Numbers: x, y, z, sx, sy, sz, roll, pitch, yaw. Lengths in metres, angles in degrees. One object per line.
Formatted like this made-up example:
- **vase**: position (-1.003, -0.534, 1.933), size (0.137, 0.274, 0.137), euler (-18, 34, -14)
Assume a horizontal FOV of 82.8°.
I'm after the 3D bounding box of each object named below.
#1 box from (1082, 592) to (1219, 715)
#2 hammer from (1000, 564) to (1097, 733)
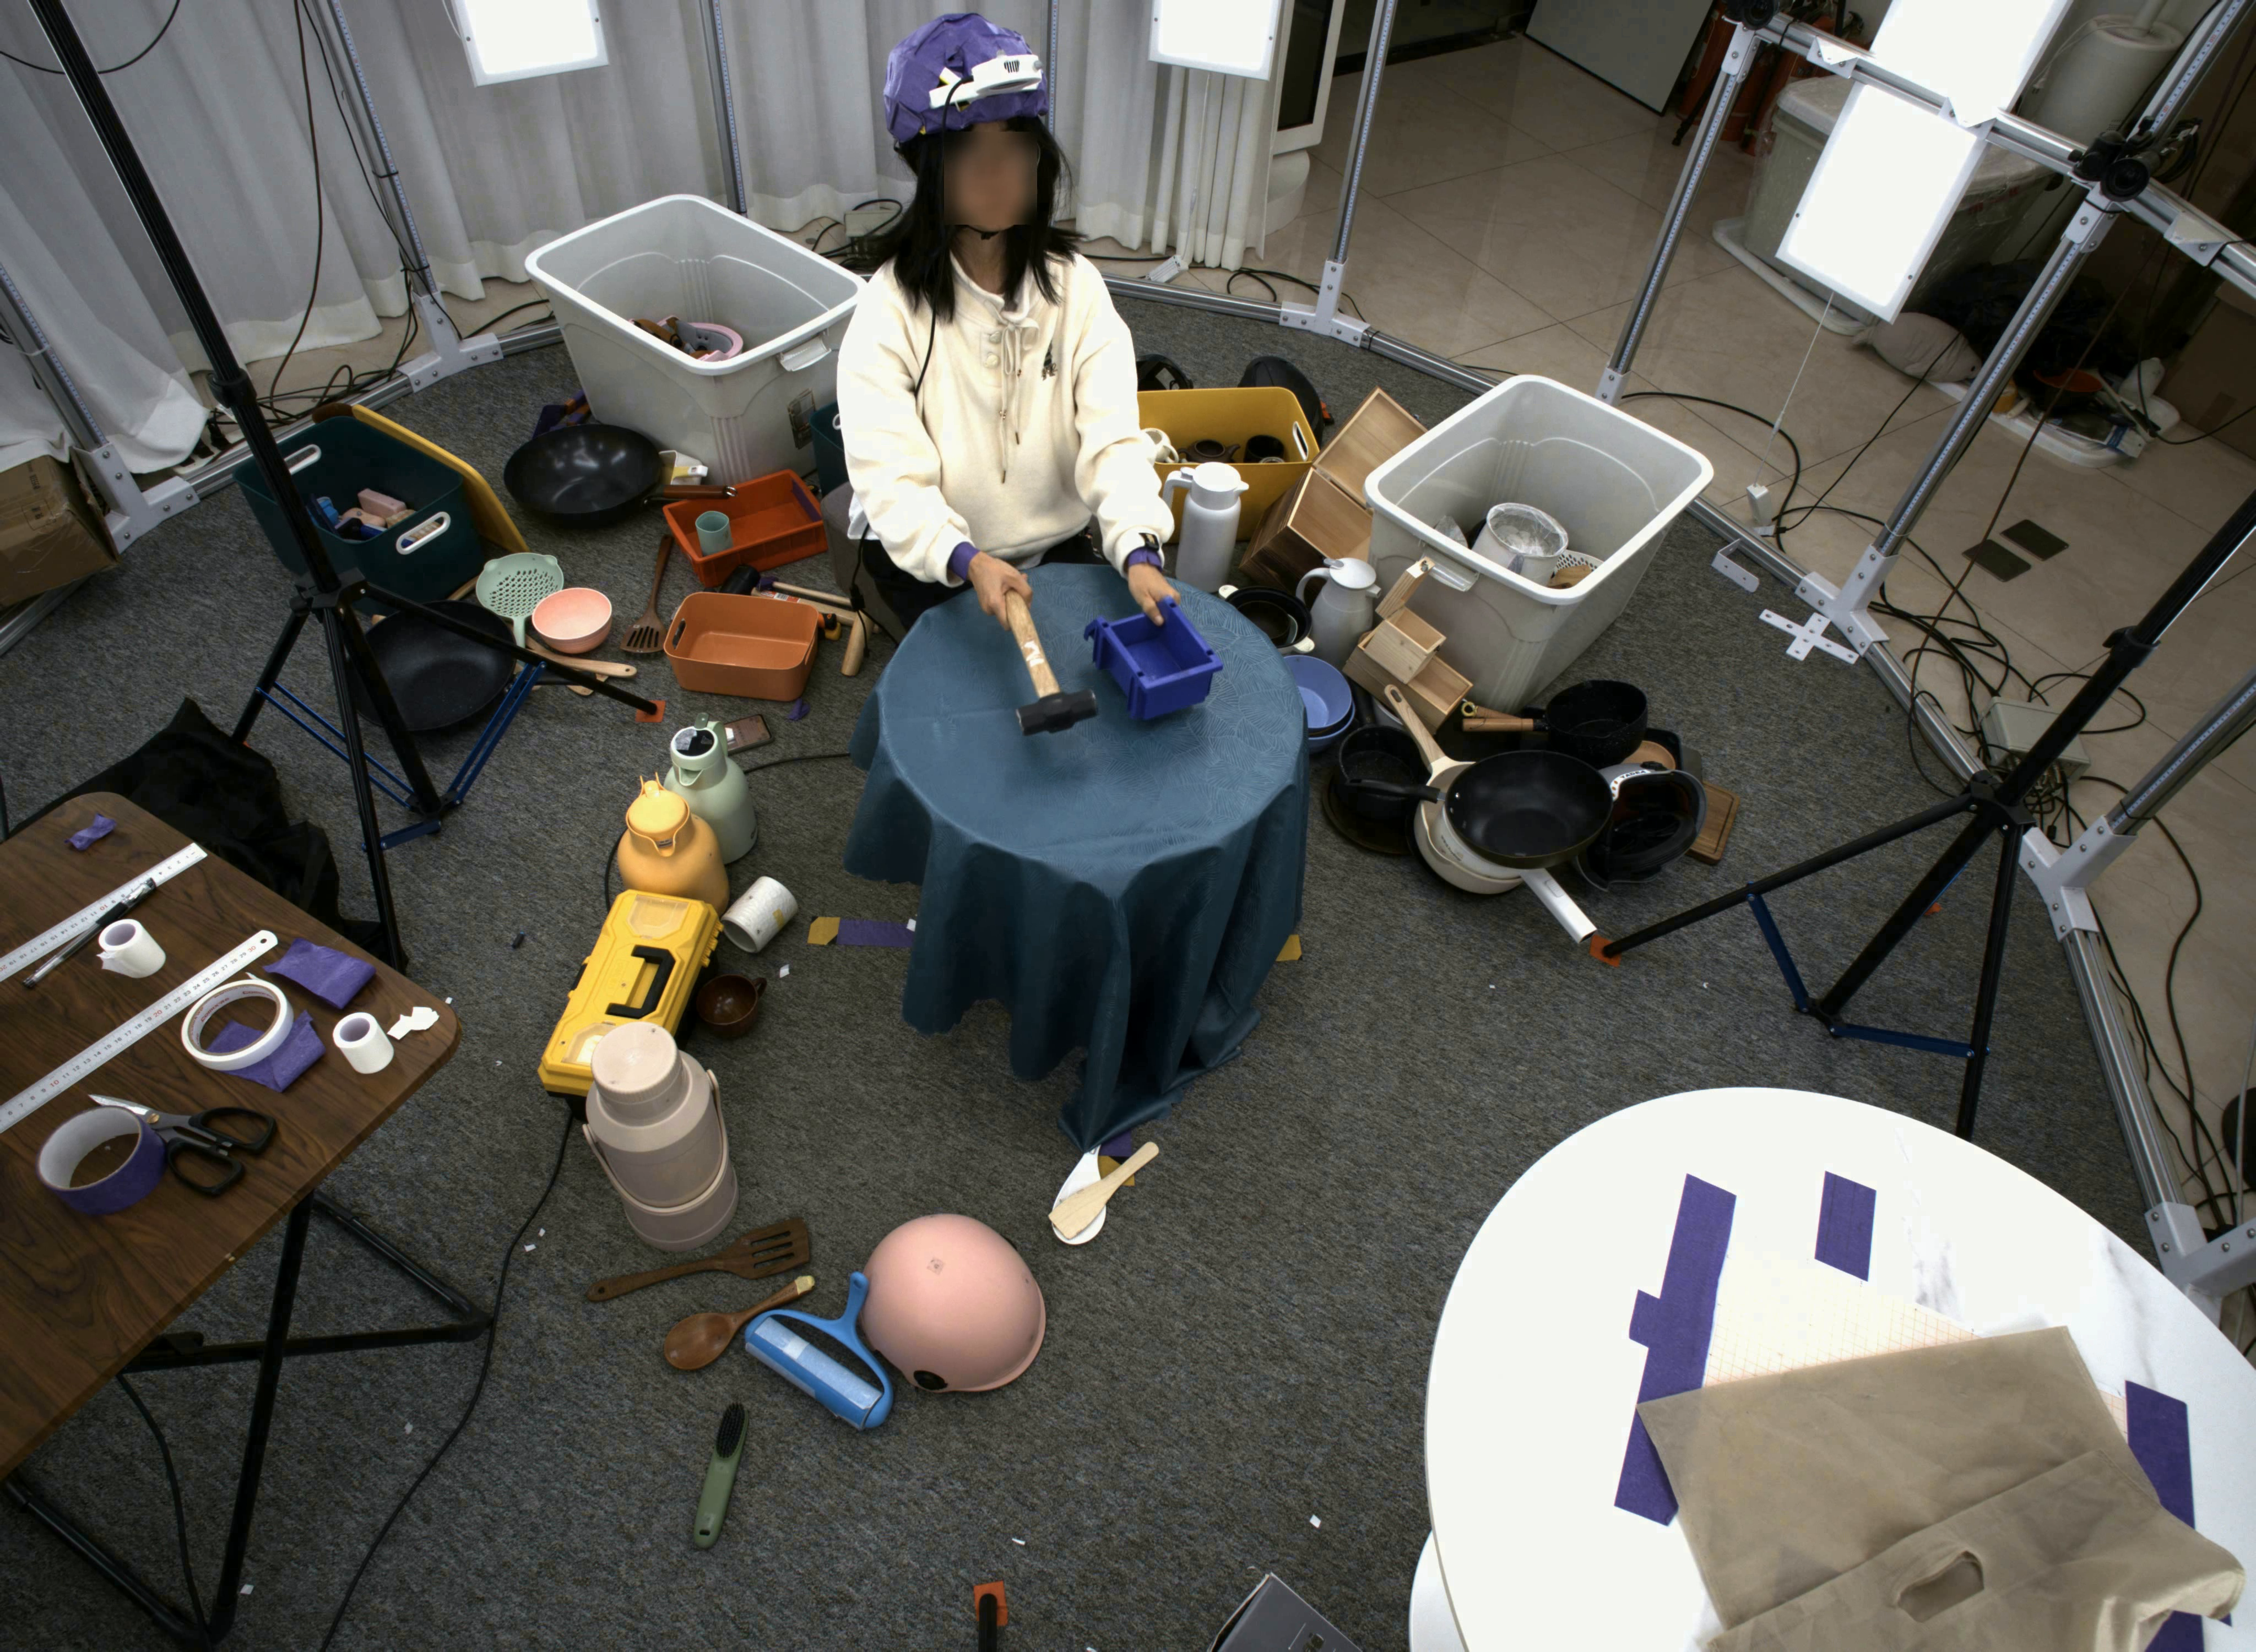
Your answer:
- **box**: position (0.026, -0.248, 1.802), size (0.125, 0.080, 0.183), euler (-18, 56, -19)
- **hammer**: position (-0.131, -0.255, 1.781), size (0.107, 0.037, 0.313), euler (-15, 52, -6)
